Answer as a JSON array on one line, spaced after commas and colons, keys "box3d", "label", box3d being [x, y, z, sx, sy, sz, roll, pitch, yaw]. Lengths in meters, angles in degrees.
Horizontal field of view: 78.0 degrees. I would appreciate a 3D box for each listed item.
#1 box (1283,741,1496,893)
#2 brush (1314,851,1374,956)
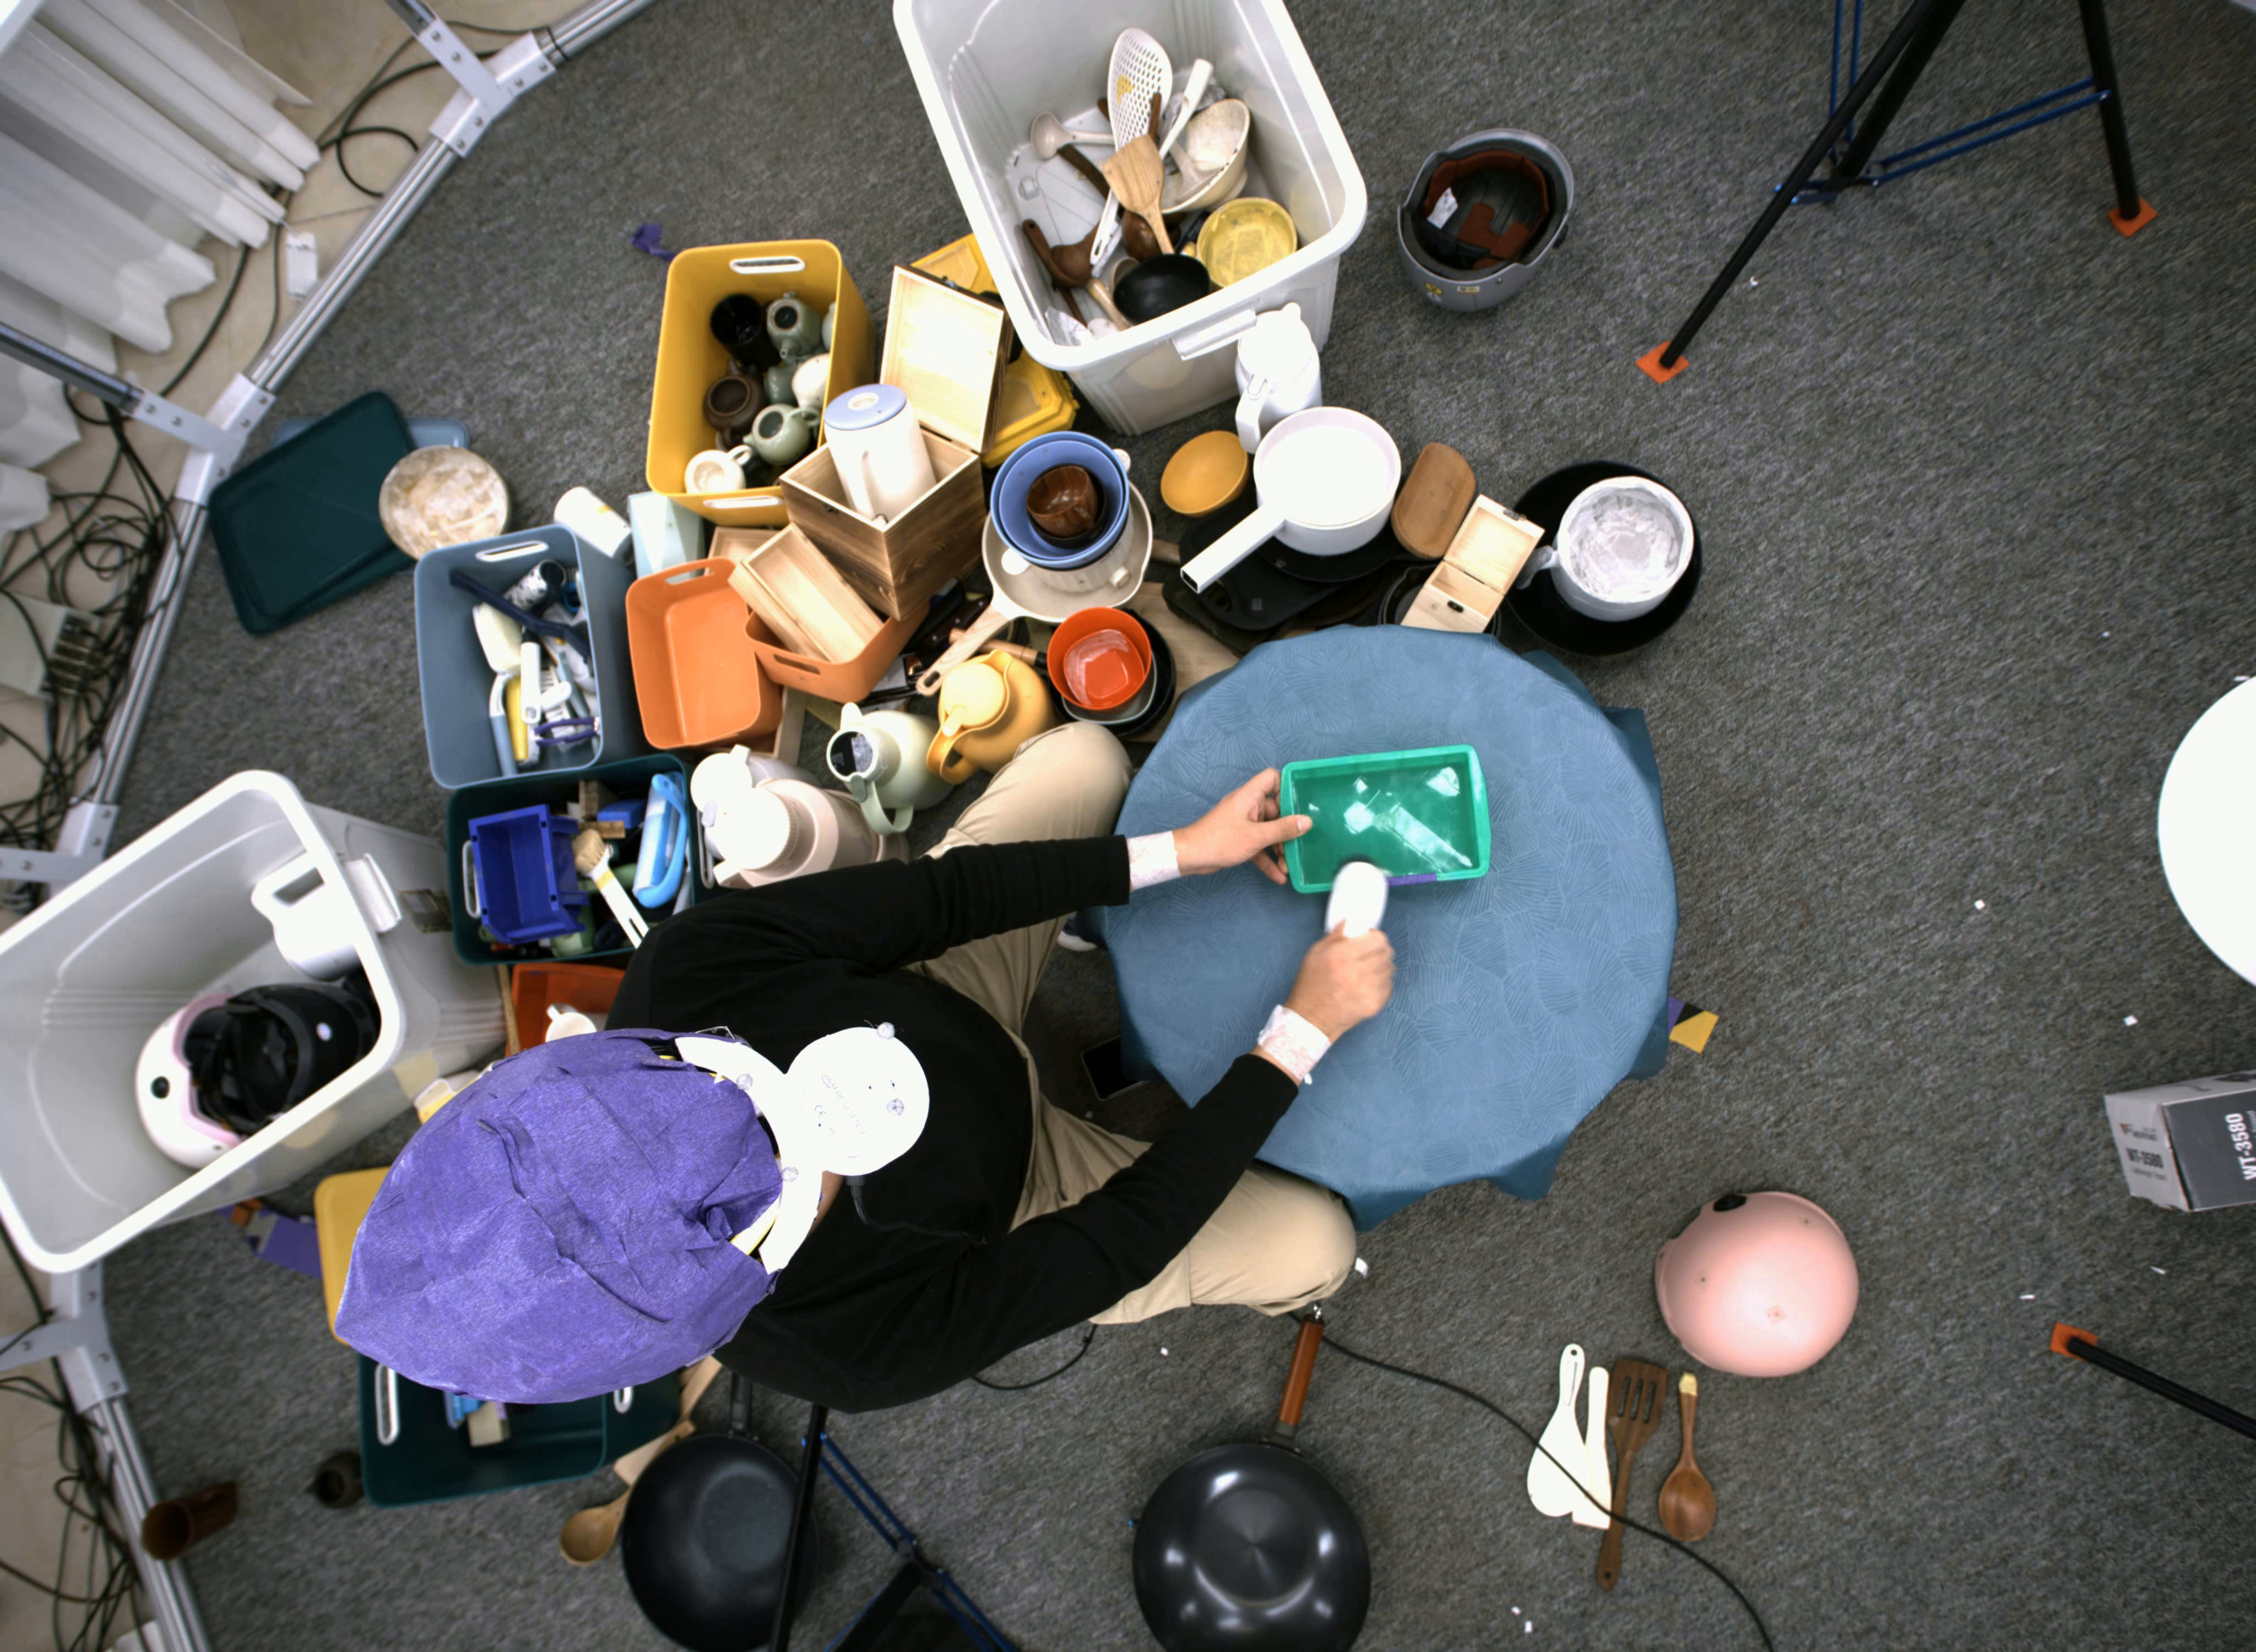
[{"box3d": [0.270, -0.008, 1.433, 0.211, 0.065, 0.138, -7, 87, 9], "label": "box"}, {"box3d": [0.217, 0.082, 1.381, 0.050, 0.071, 0.101, 11, 113, 0], "label": "brush"}]
